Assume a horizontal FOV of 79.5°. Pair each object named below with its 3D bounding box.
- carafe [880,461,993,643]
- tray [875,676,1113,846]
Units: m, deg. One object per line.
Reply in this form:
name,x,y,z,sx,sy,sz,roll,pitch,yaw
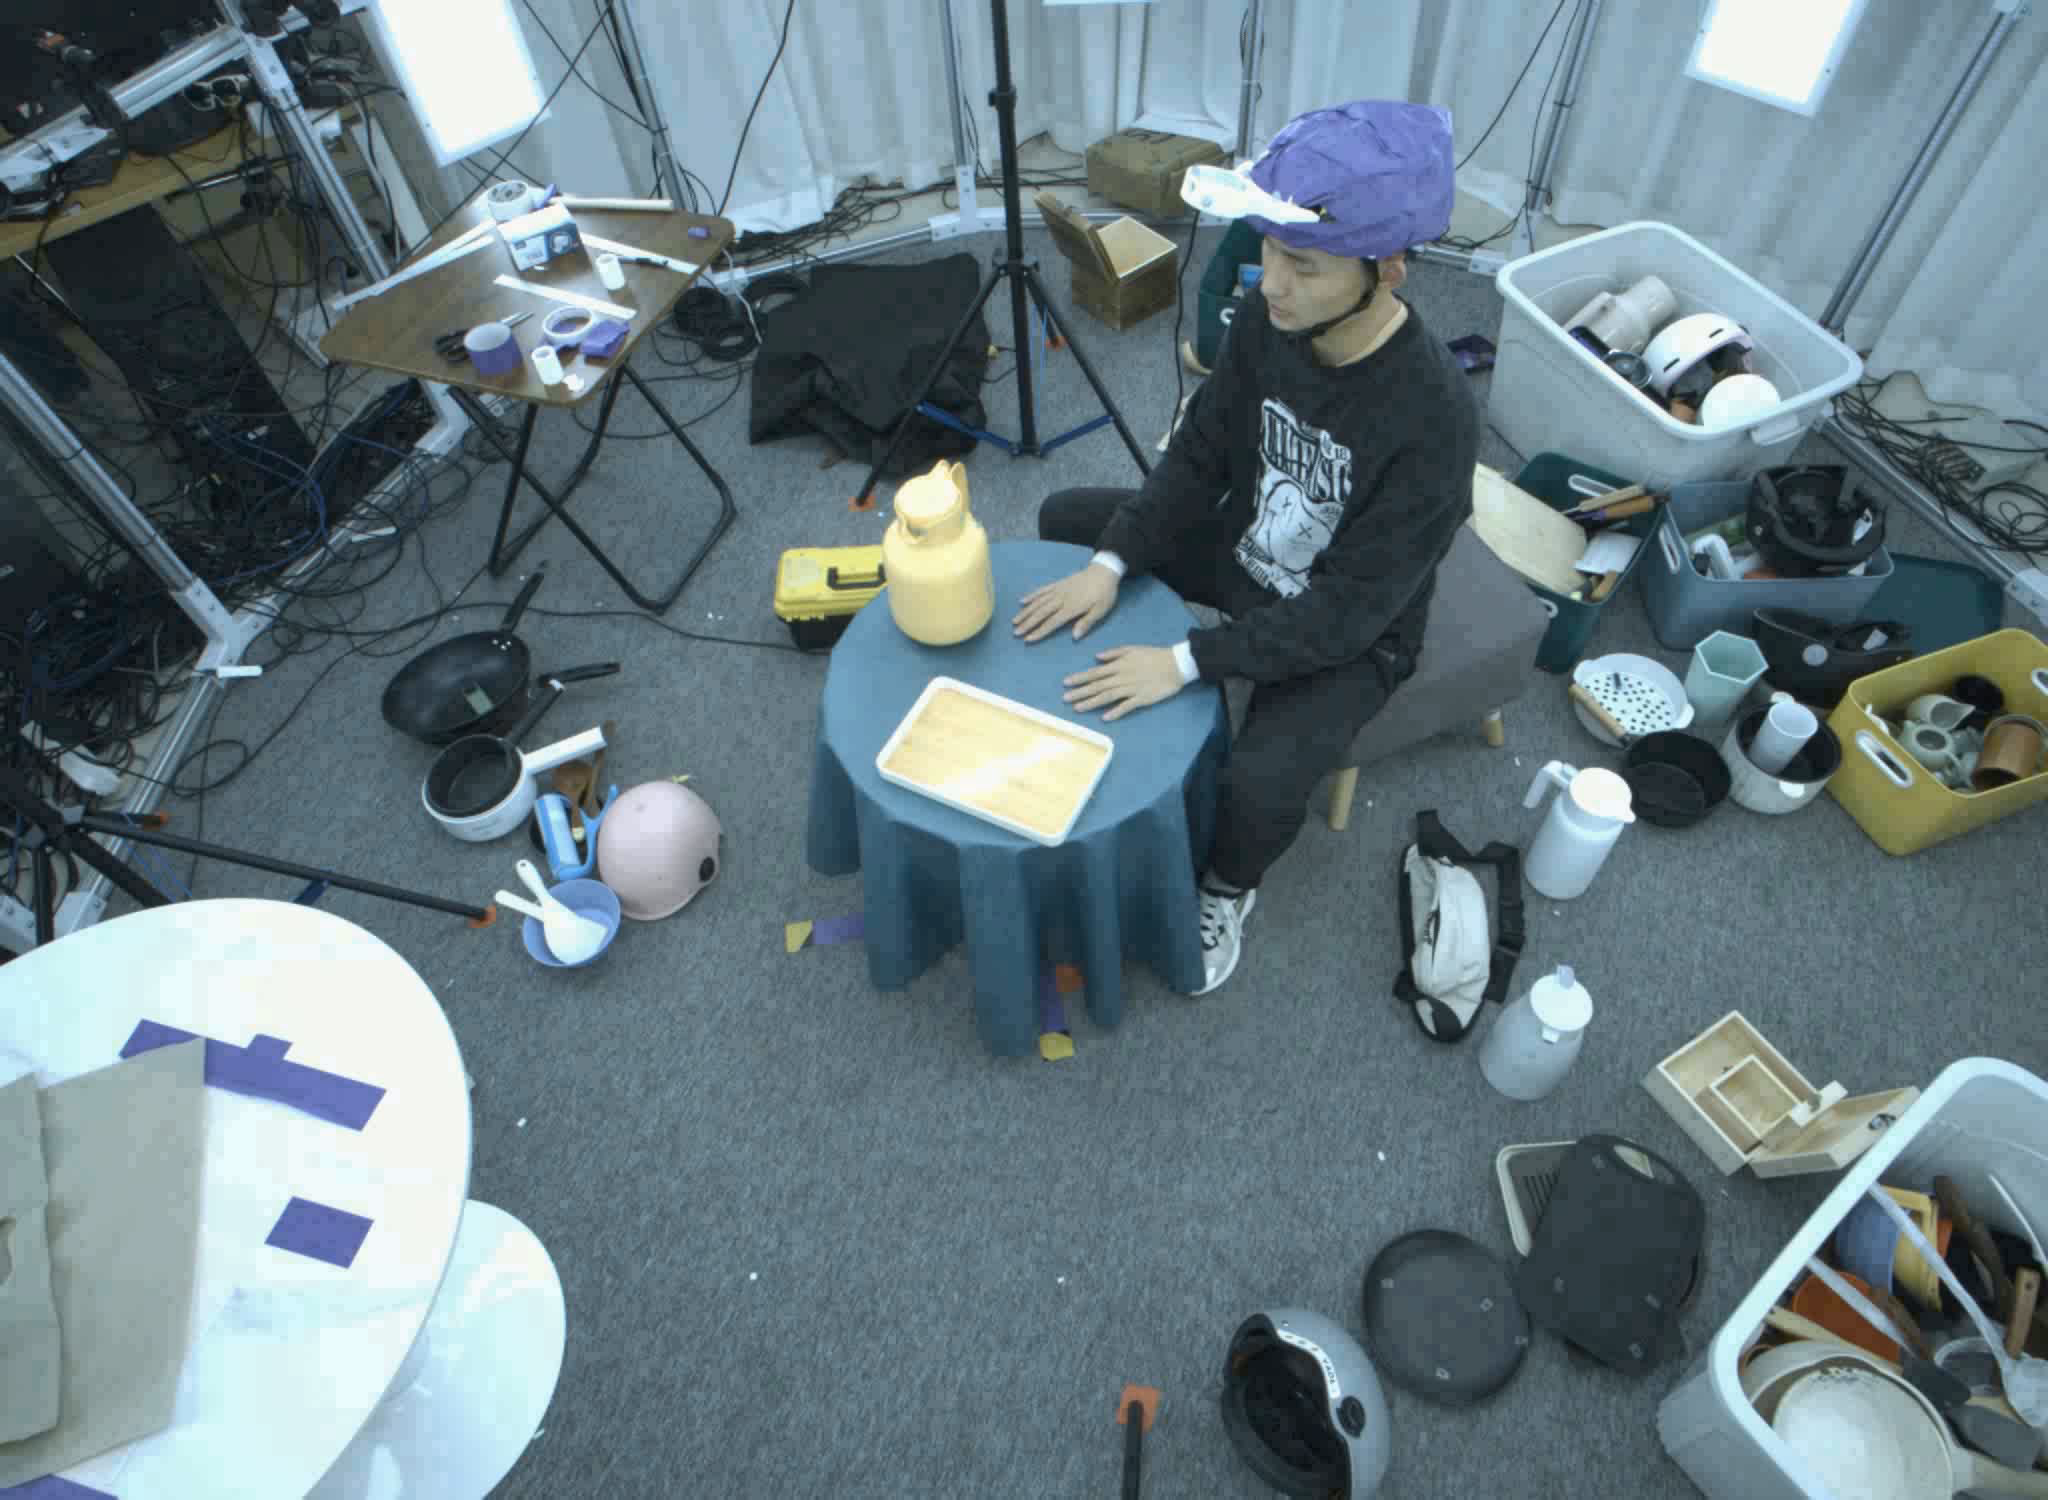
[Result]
carafe,-0.127,-0.306,1.844,0.162,0.263,0.202,15,58,11
tray,-0.042,0.011,1.760,0.296,0.028,0.192,22,58,16
